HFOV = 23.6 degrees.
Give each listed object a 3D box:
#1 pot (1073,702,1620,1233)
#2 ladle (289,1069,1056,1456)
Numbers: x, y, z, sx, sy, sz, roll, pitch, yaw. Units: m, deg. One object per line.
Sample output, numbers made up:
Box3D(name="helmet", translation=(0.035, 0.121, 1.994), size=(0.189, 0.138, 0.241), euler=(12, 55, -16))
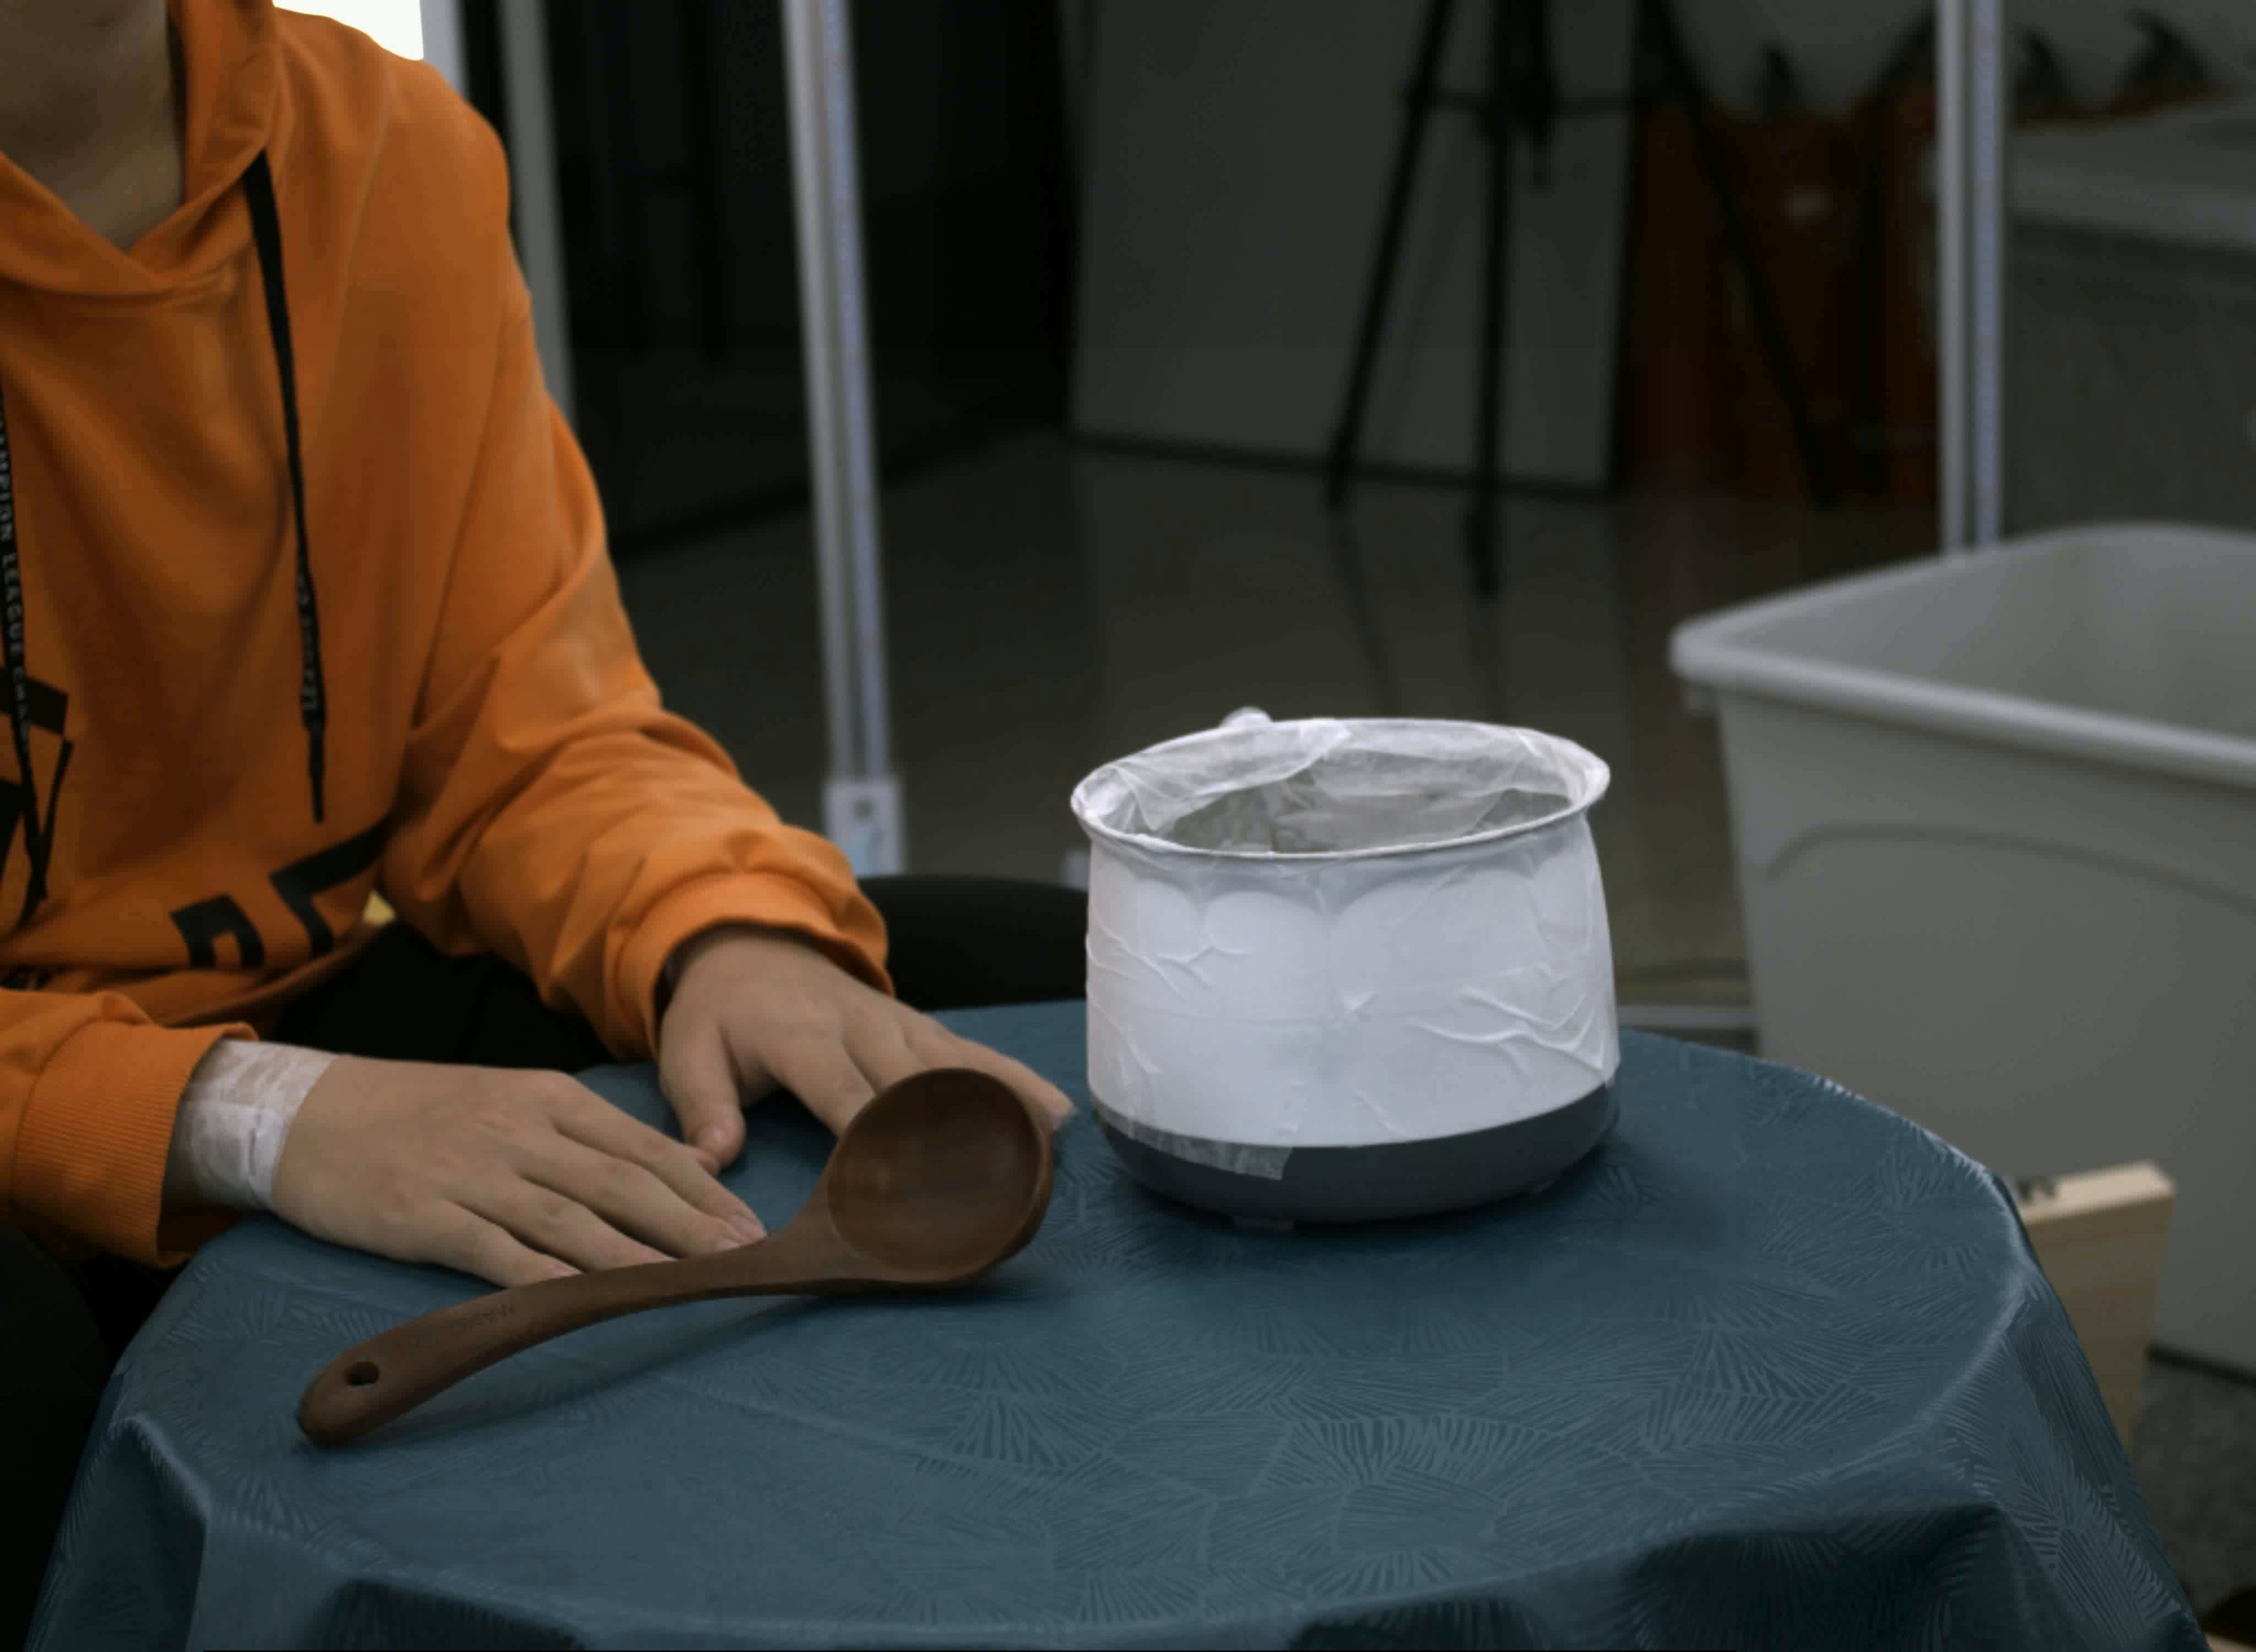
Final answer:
Box3D(name="pot", translation=(0.064, 0.040, 1.789), size=(0.175, 0.138, 0.235), euler=(-7, 14, -16))
Box3D(name="ladle", translation=(-0.135, 0.132, 1.640), size=(0.254, 0.066, 0.077), euler=(-13, 42, -34))
